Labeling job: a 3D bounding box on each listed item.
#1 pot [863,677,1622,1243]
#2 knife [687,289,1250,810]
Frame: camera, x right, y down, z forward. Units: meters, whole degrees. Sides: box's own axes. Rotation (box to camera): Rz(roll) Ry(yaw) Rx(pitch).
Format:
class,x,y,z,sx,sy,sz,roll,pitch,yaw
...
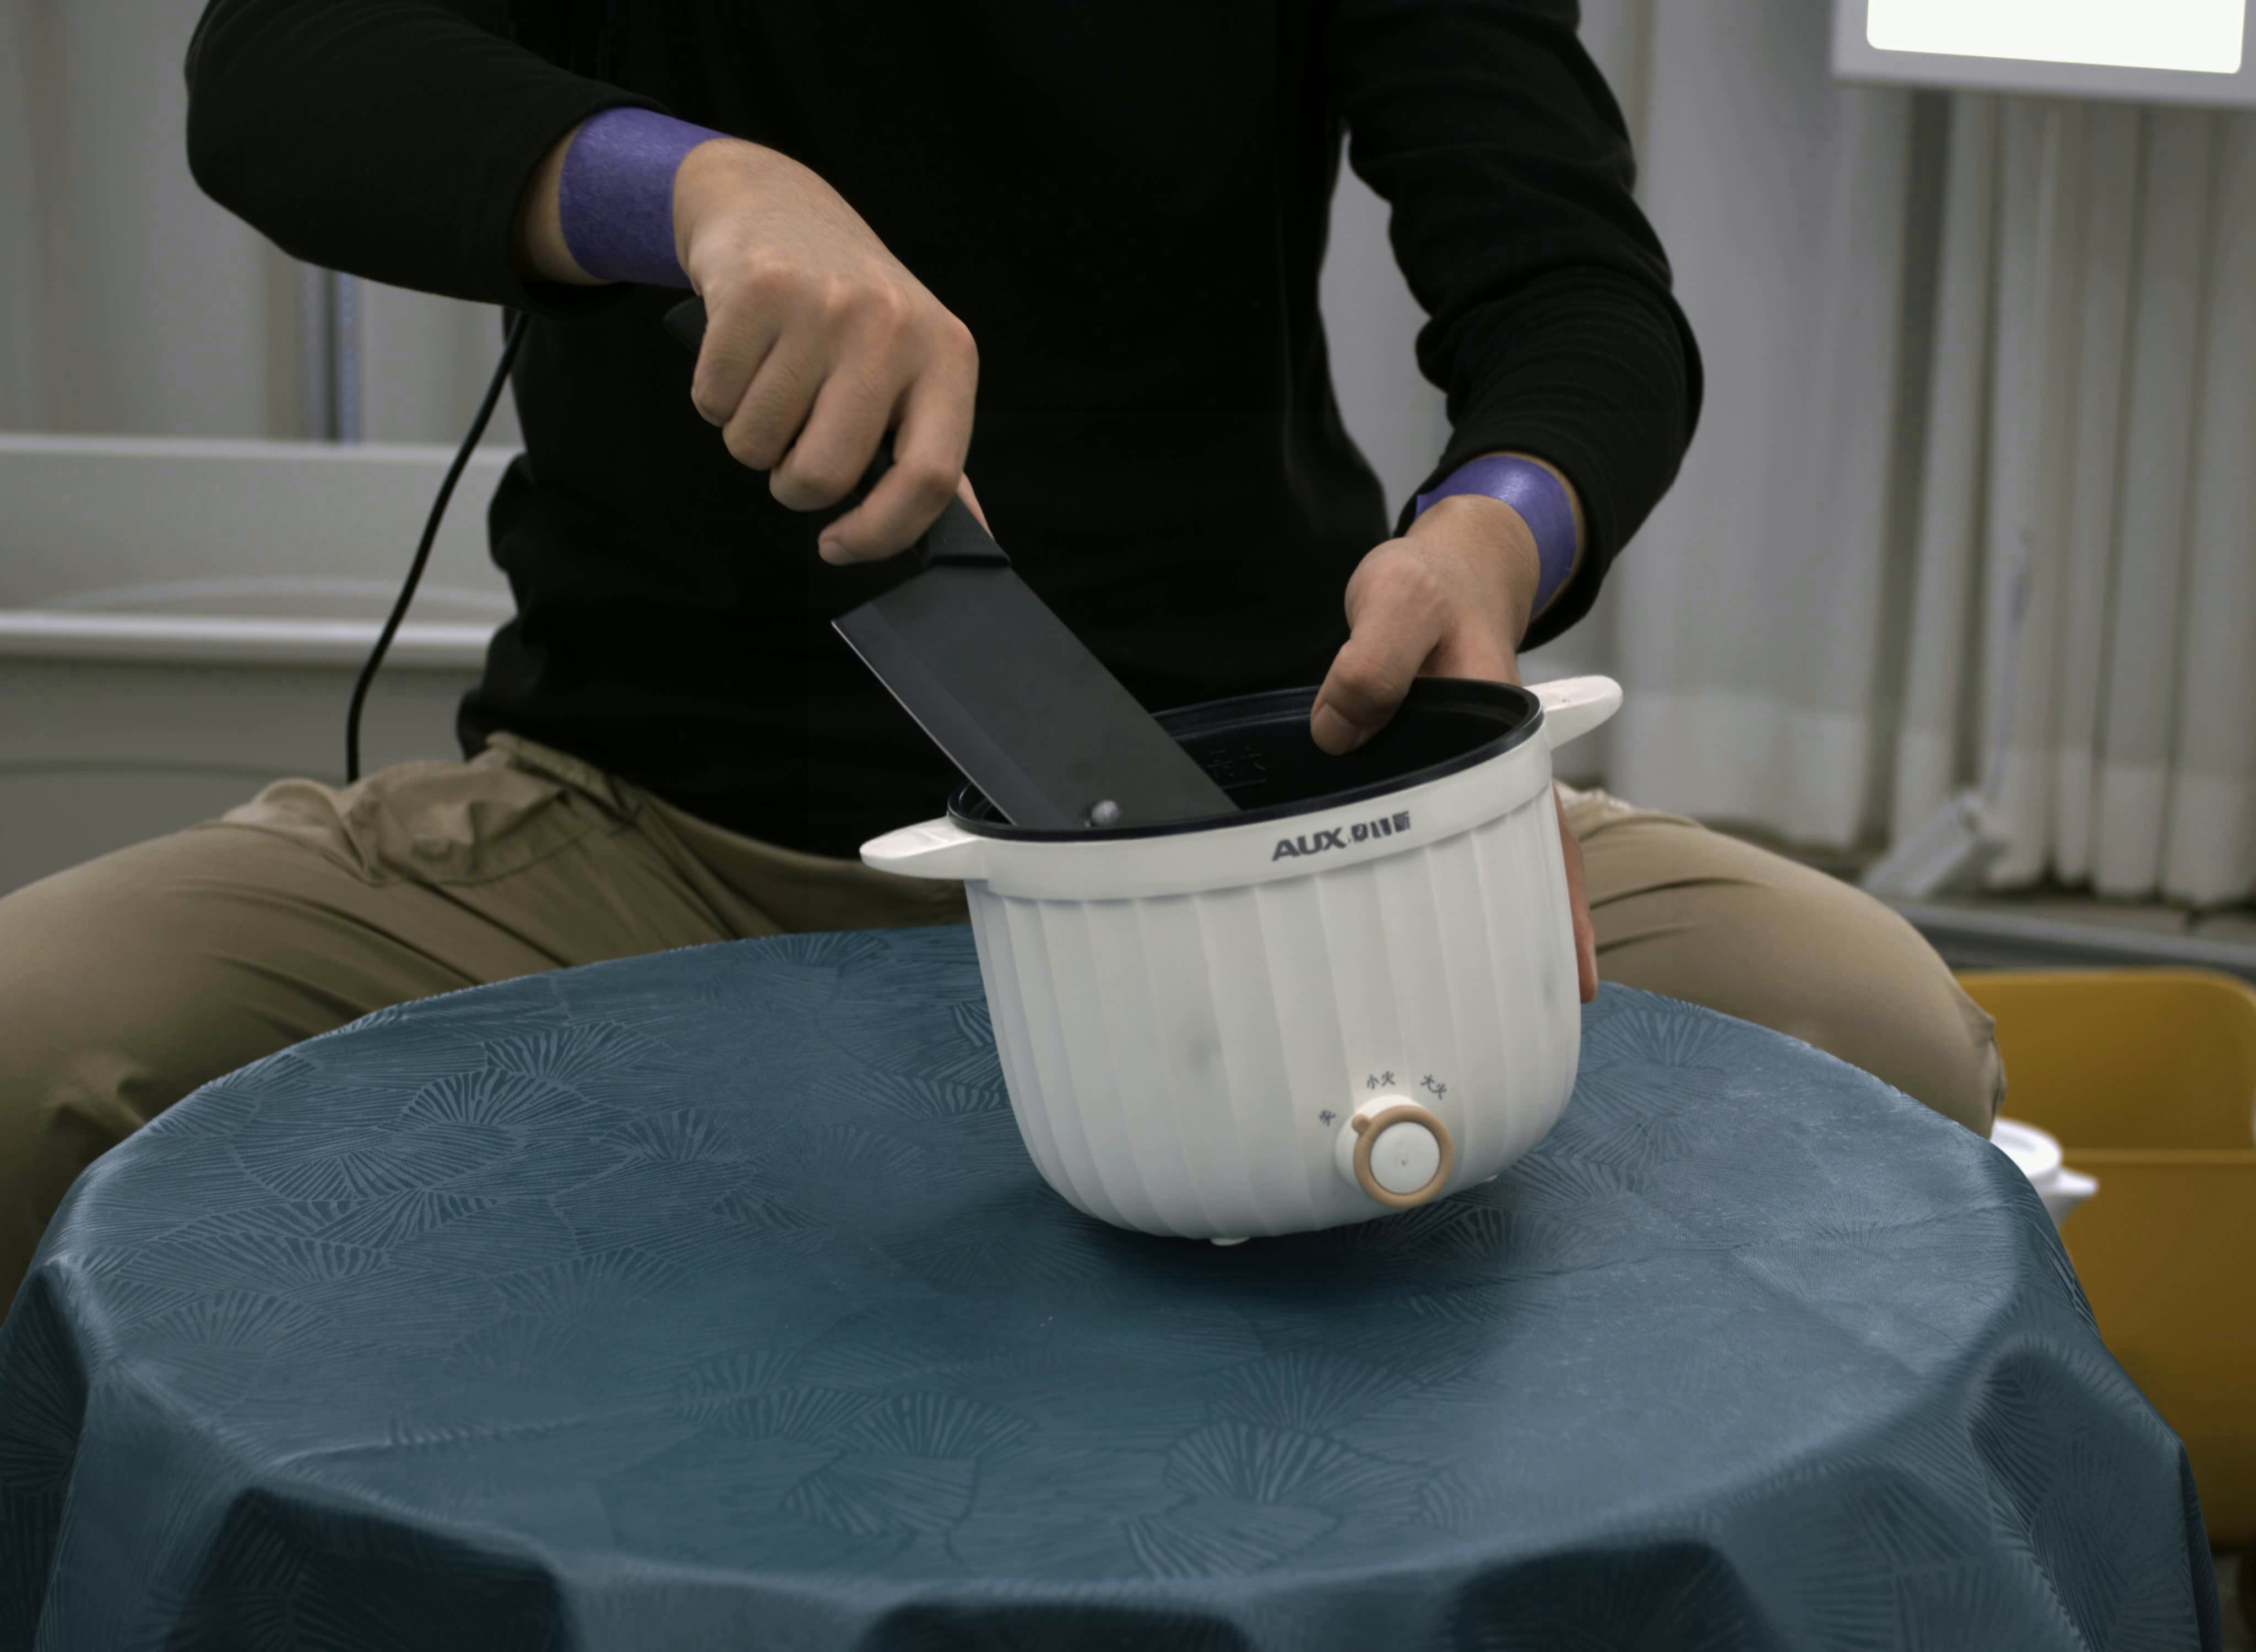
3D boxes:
class,x,y,z,sx,sy,sz,roll,pitch,yaw
pot,0.049,0.042,1.580,0.240,0.143,0.189,-14,9,-14
knife,-0.037,-0.057,1.597,0.081,0.021,0.300,-26,66,-36
